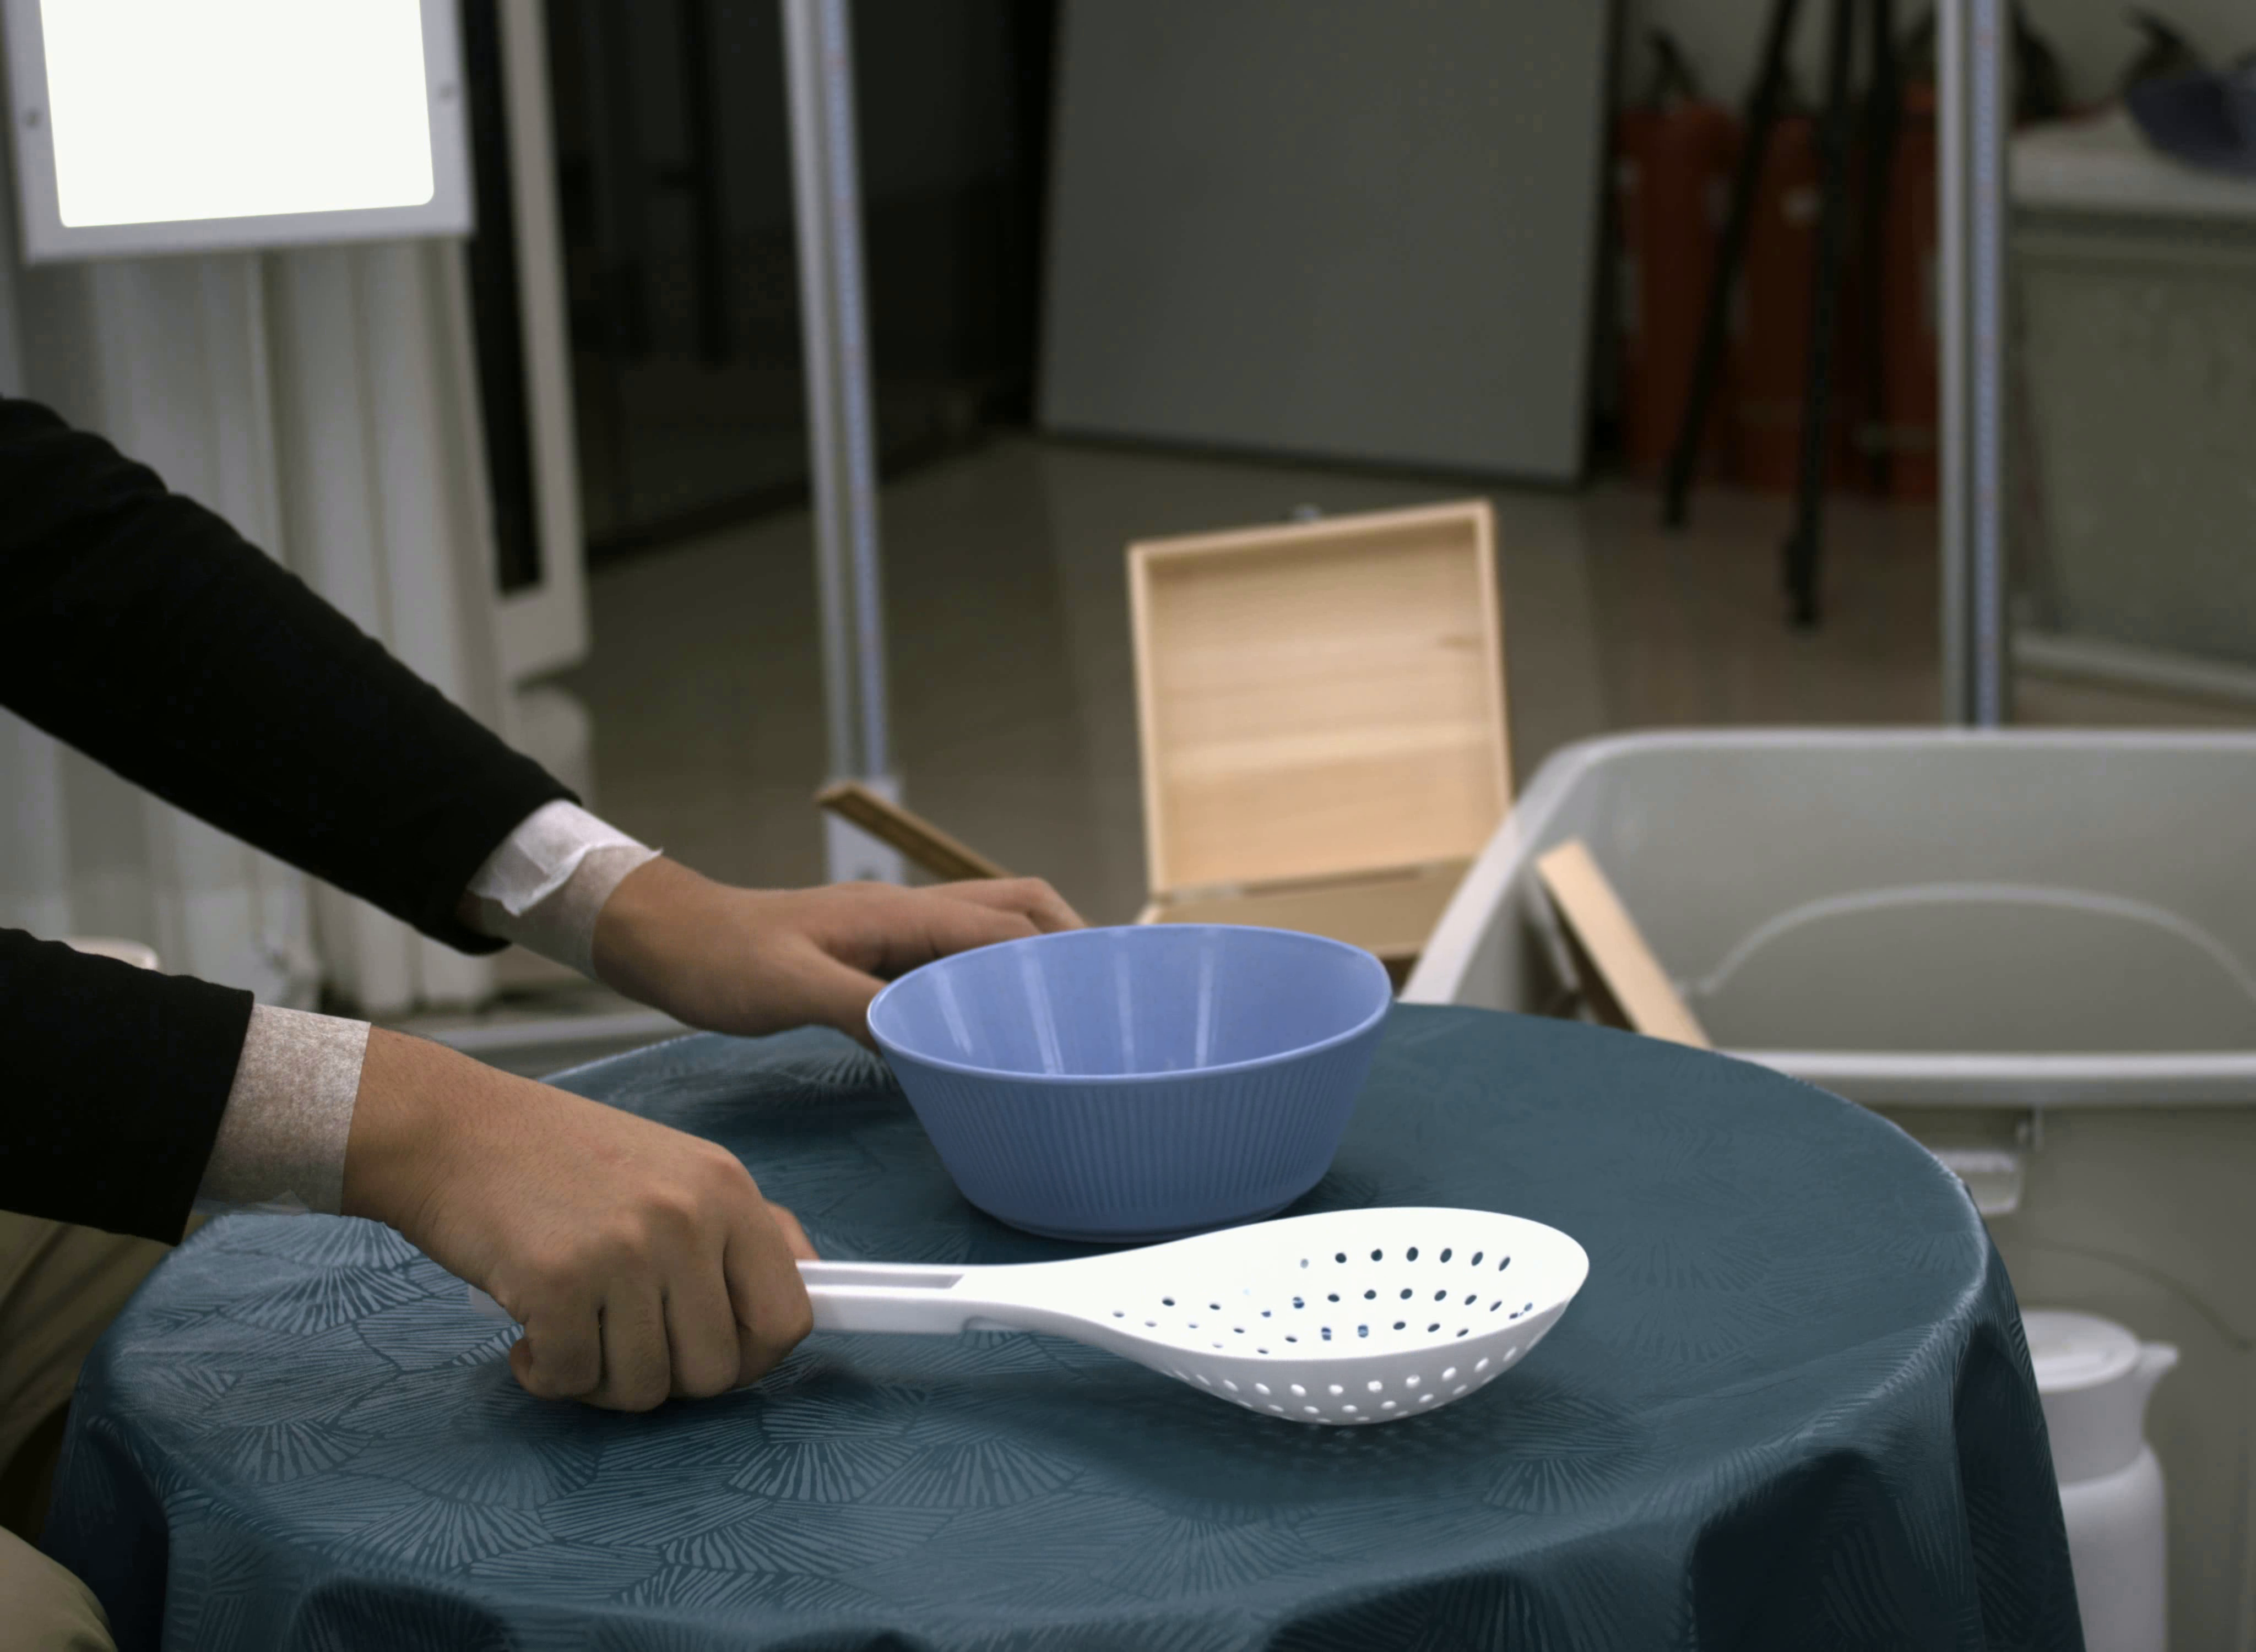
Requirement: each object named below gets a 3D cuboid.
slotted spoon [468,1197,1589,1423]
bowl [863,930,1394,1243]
[{"bbox_3d":[-0.034,0.137,1.587,0.349,0.046,0.135,4,17,20],"label":"slotted spoon"},{"bbox_3d":[0.003,0.087,1.761,0.174,0.071,0.176,-5,13,0],"label":"bowl"}]
